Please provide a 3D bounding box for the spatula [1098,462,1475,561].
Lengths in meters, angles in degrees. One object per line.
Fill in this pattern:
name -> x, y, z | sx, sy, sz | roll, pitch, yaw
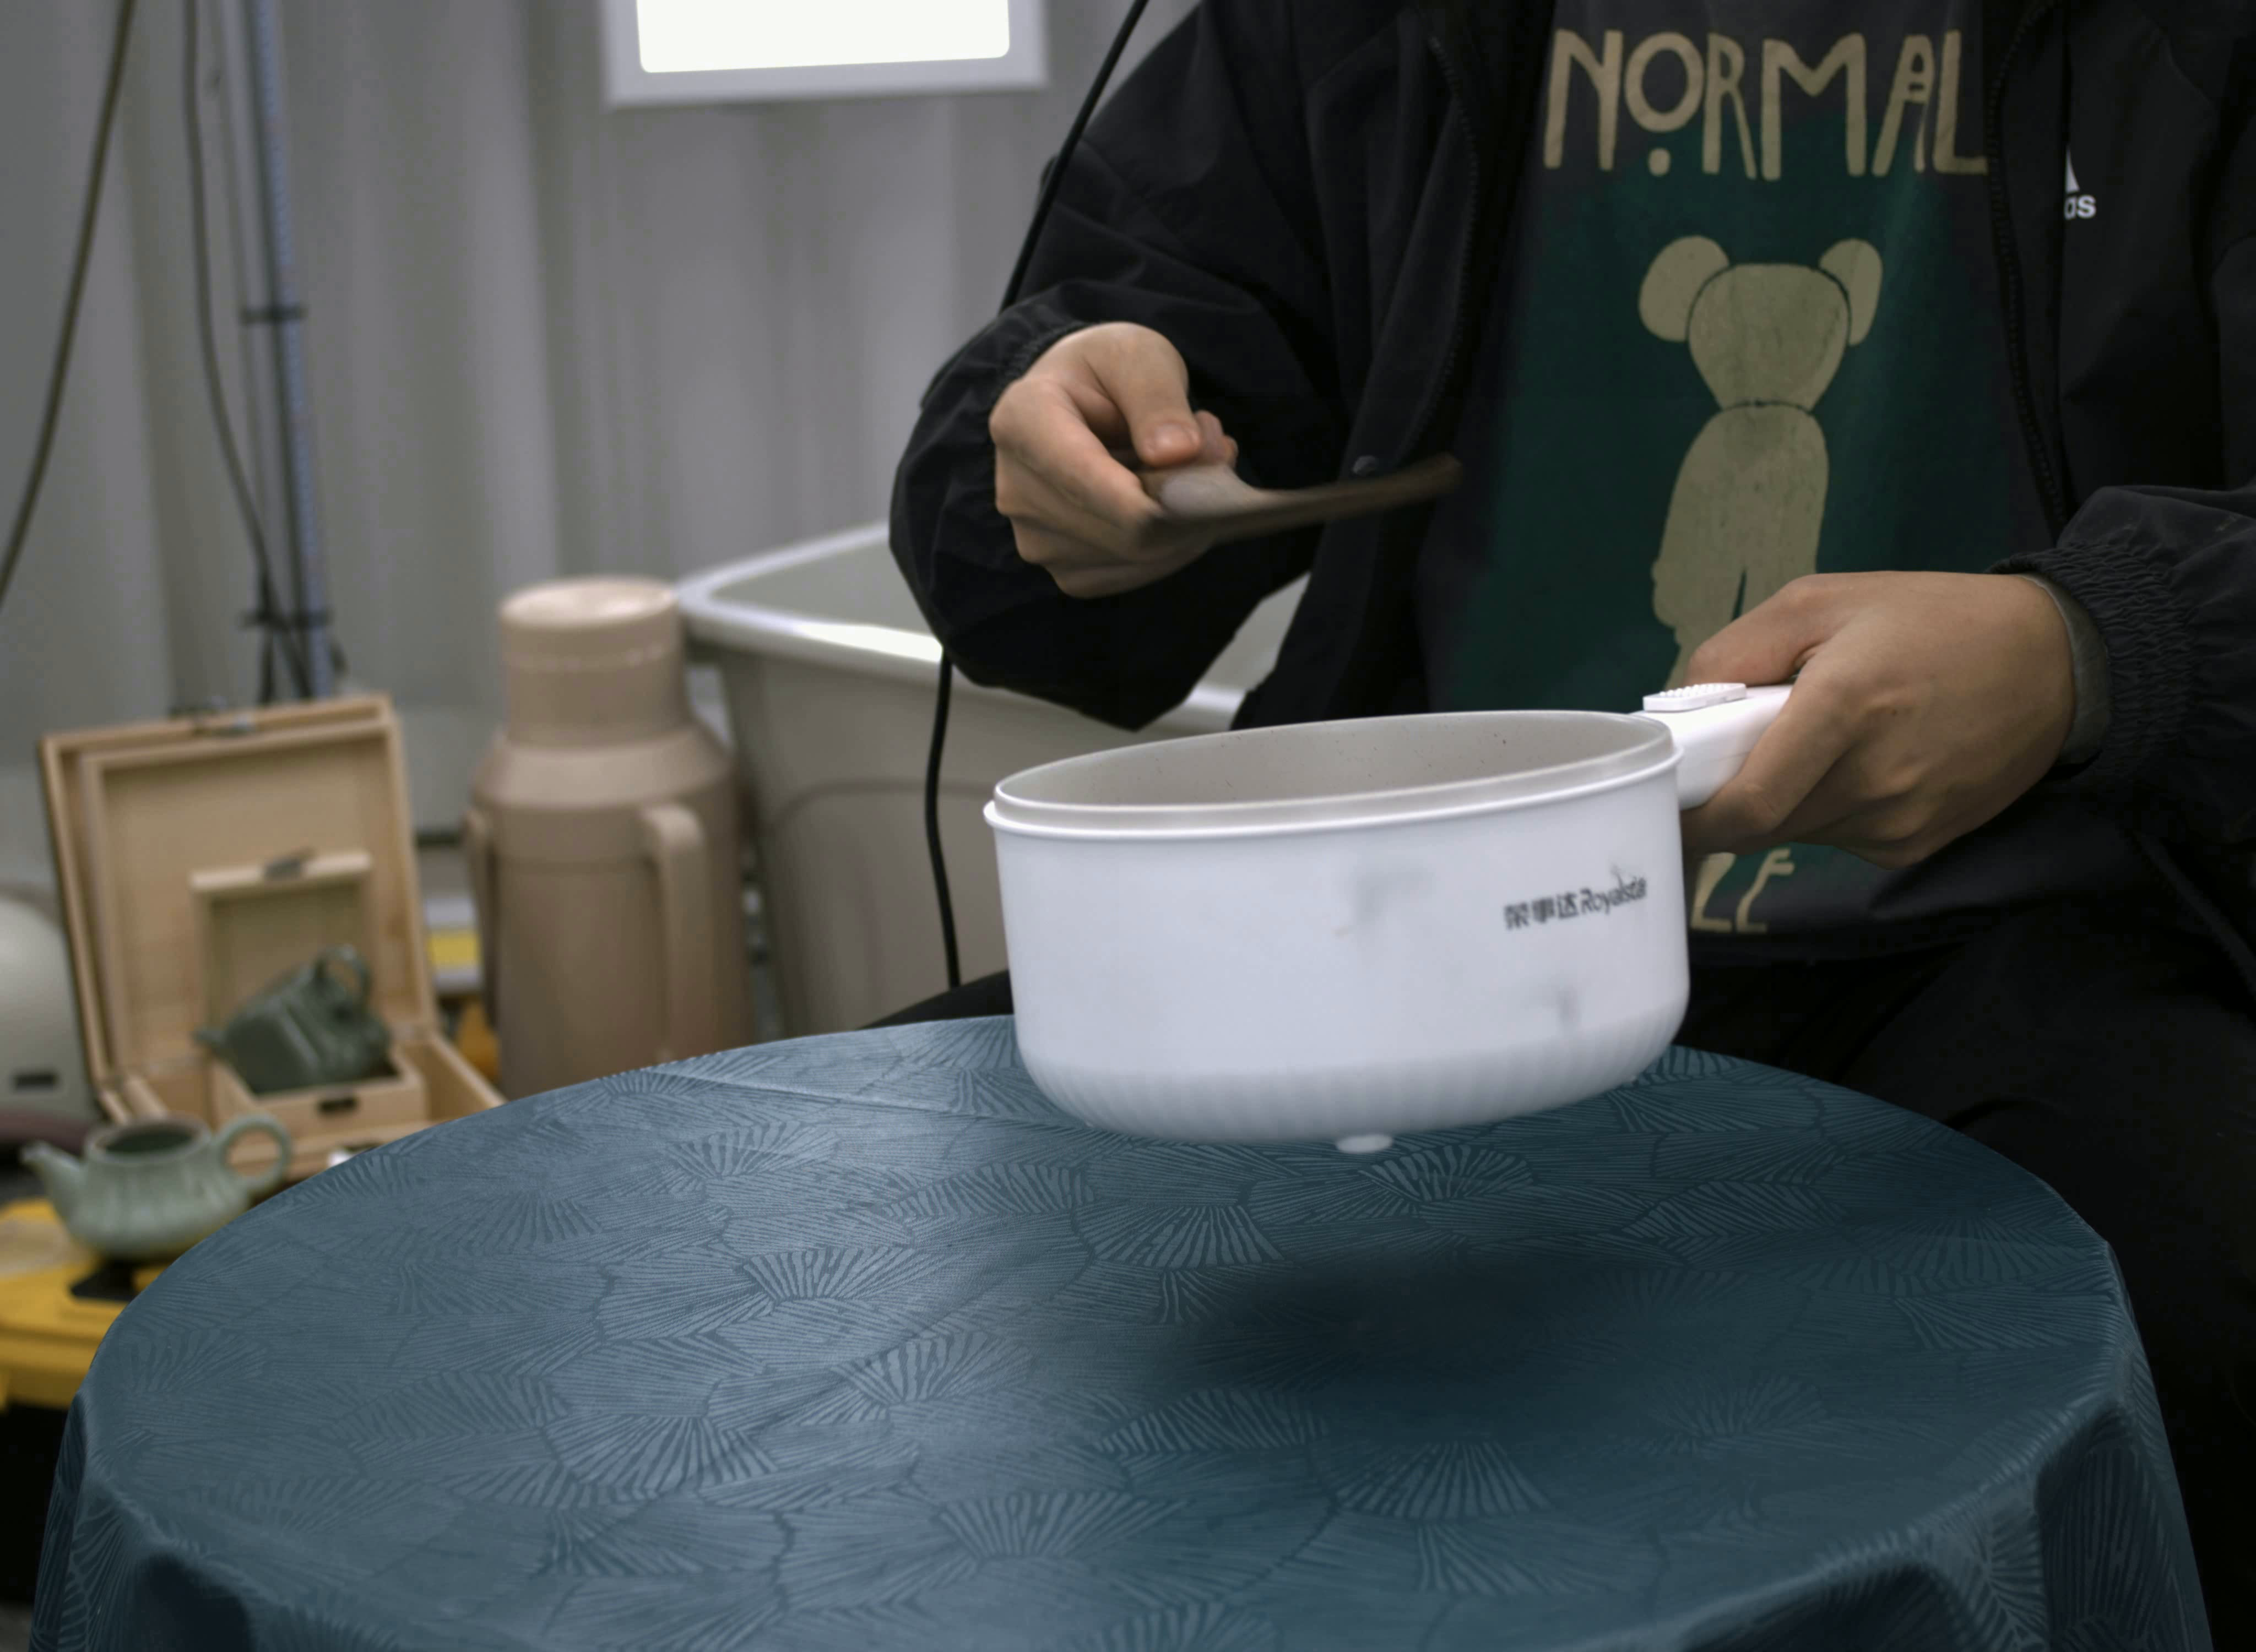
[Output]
spatula -> 0.029, -0.103, 1.722 | 0.096, 0.016, 0.387 | -11, 7, -7

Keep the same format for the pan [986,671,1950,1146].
pan -> 0.118, 0.020, 1.620 | 0.353, 0.102, 0.202 | -9, 7, -42
